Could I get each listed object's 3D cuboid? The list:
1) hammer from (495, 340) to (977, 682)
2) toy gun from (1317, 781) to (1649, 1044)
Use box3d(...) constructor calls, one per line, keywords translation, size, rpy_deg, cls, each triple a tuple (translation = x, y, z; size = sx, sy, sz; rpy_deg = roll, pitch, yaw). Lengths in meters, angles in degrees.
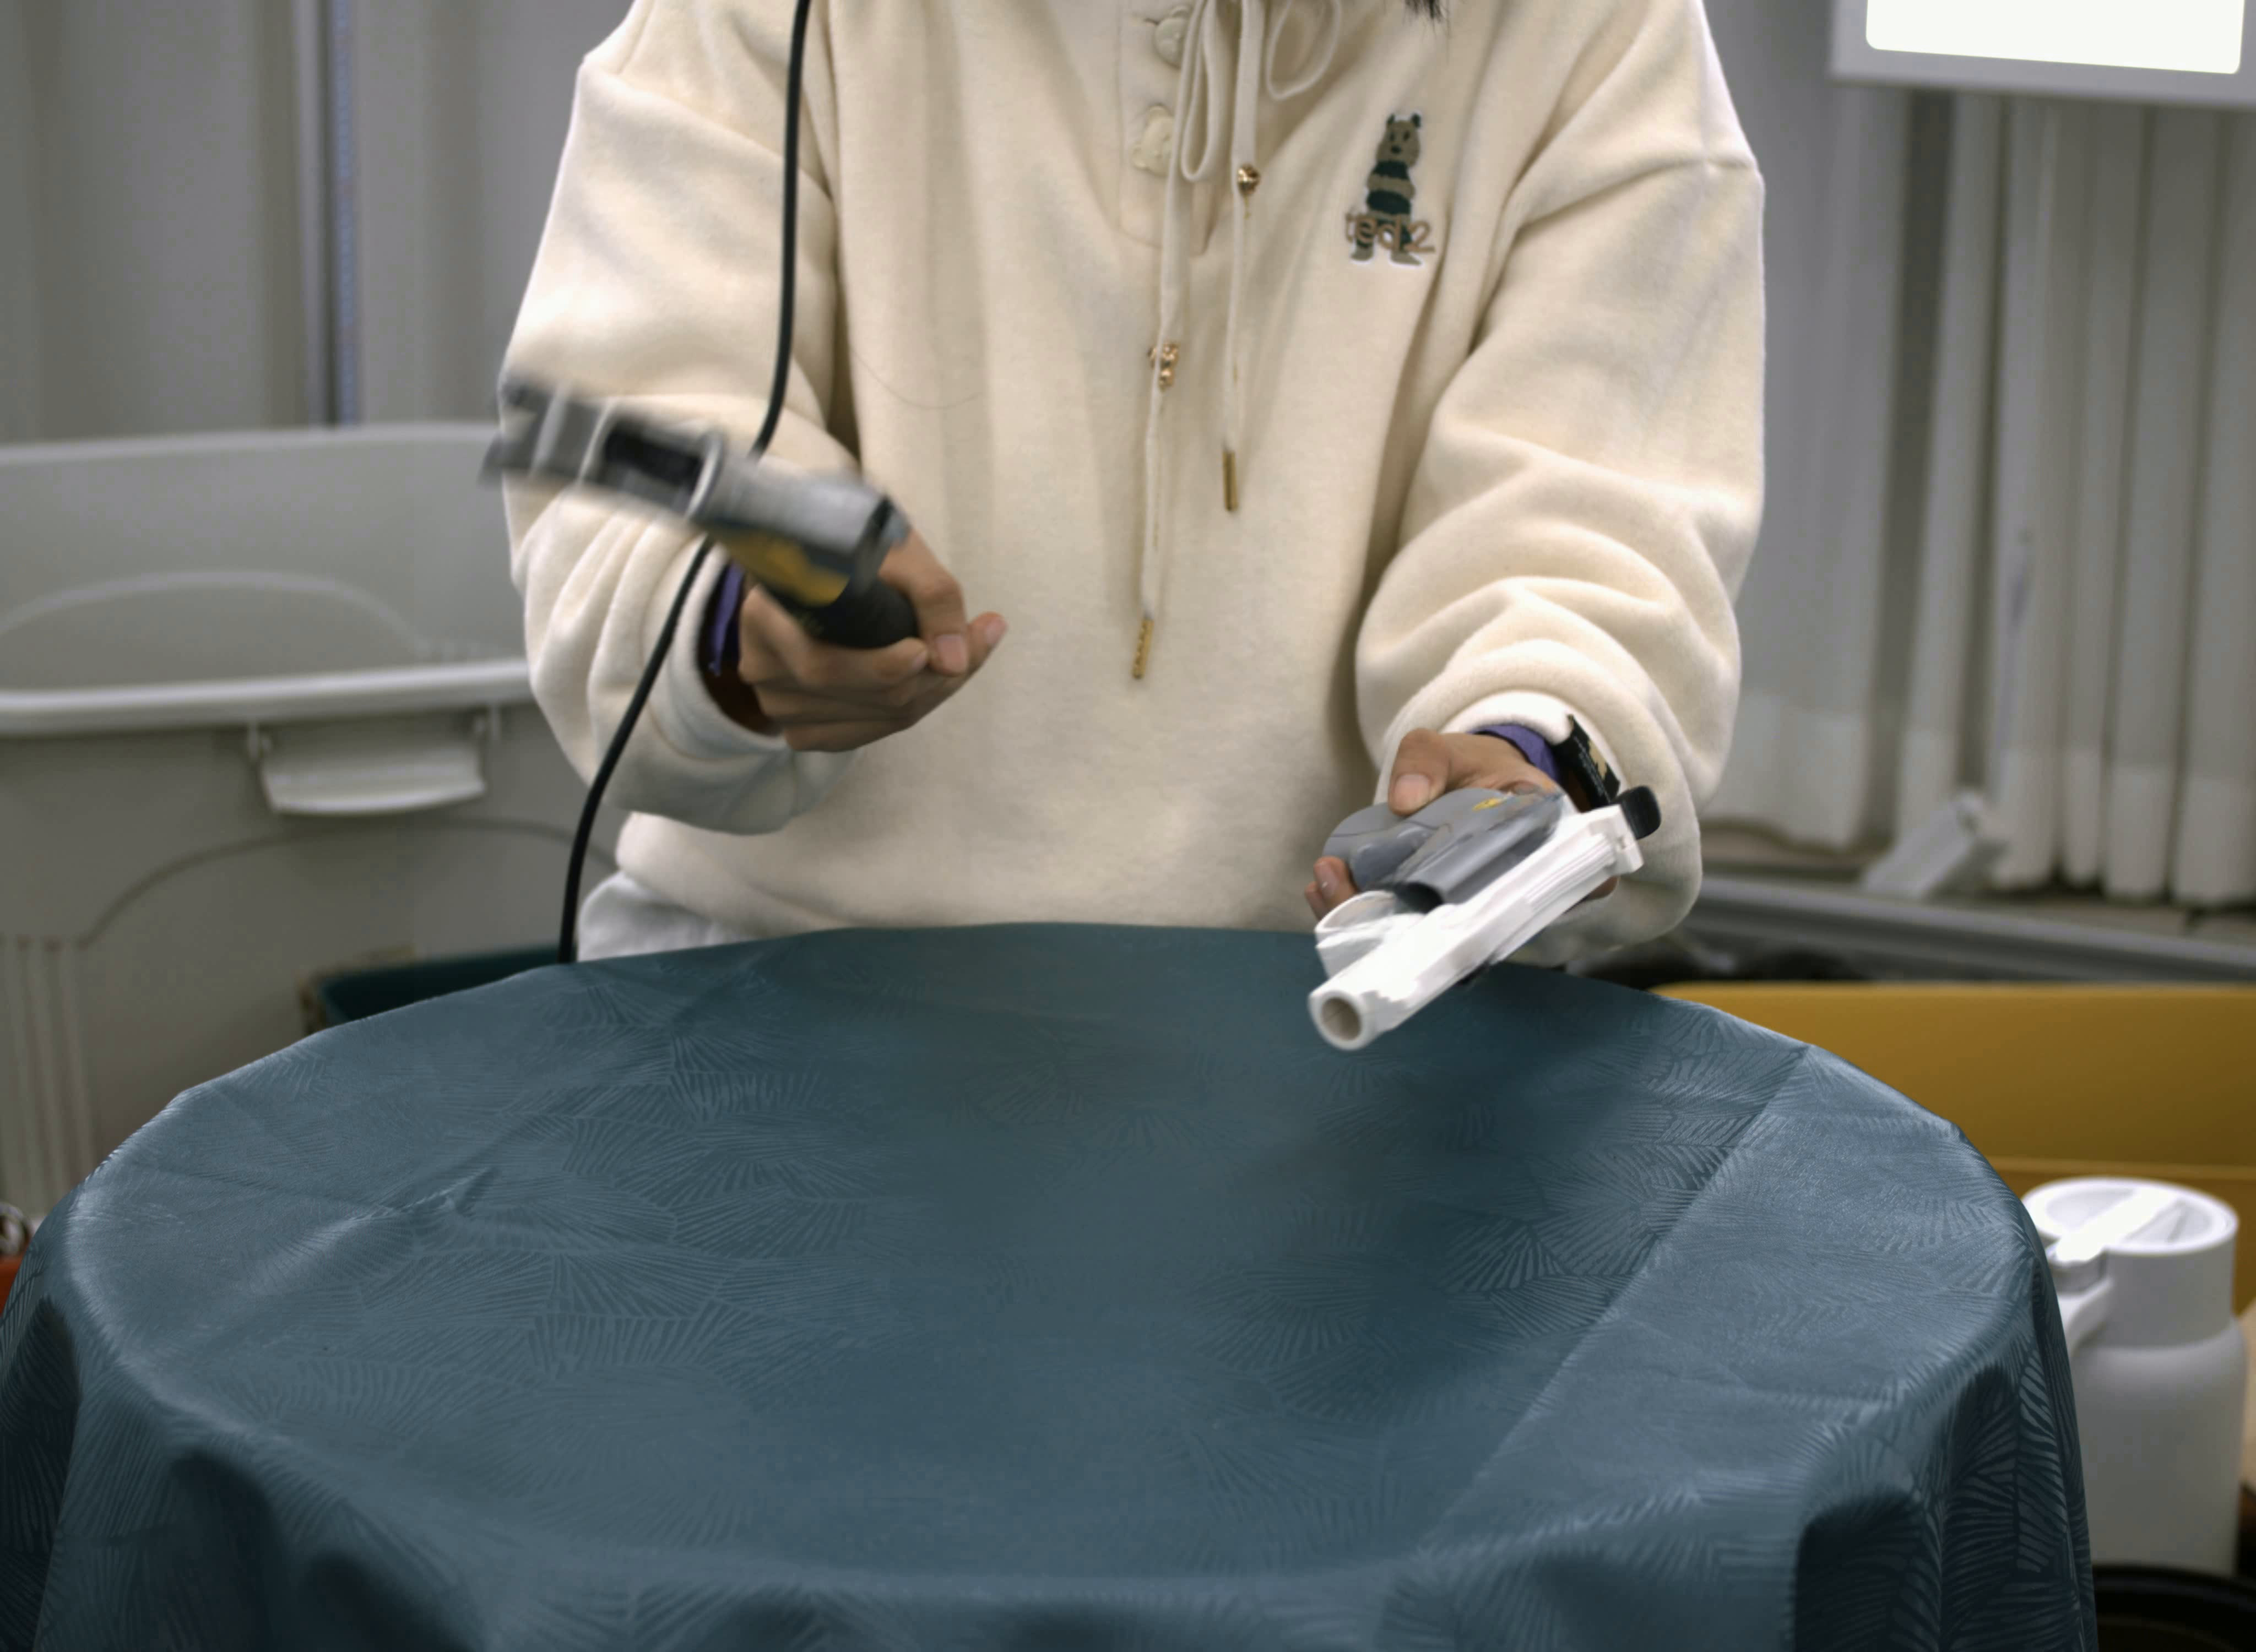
box3d(translation=(-0.097, -0.088, 1.606), size=(0.130, 0.032, 0.340), rpy_deg=(18, -5, 12), cls="hammer")
box3d(translation=(0.084, 0.024, 1.585), size=(0.140, 0.039, 0.209), rpy_deg=(-14, 12, 38), cls="toy gun")
